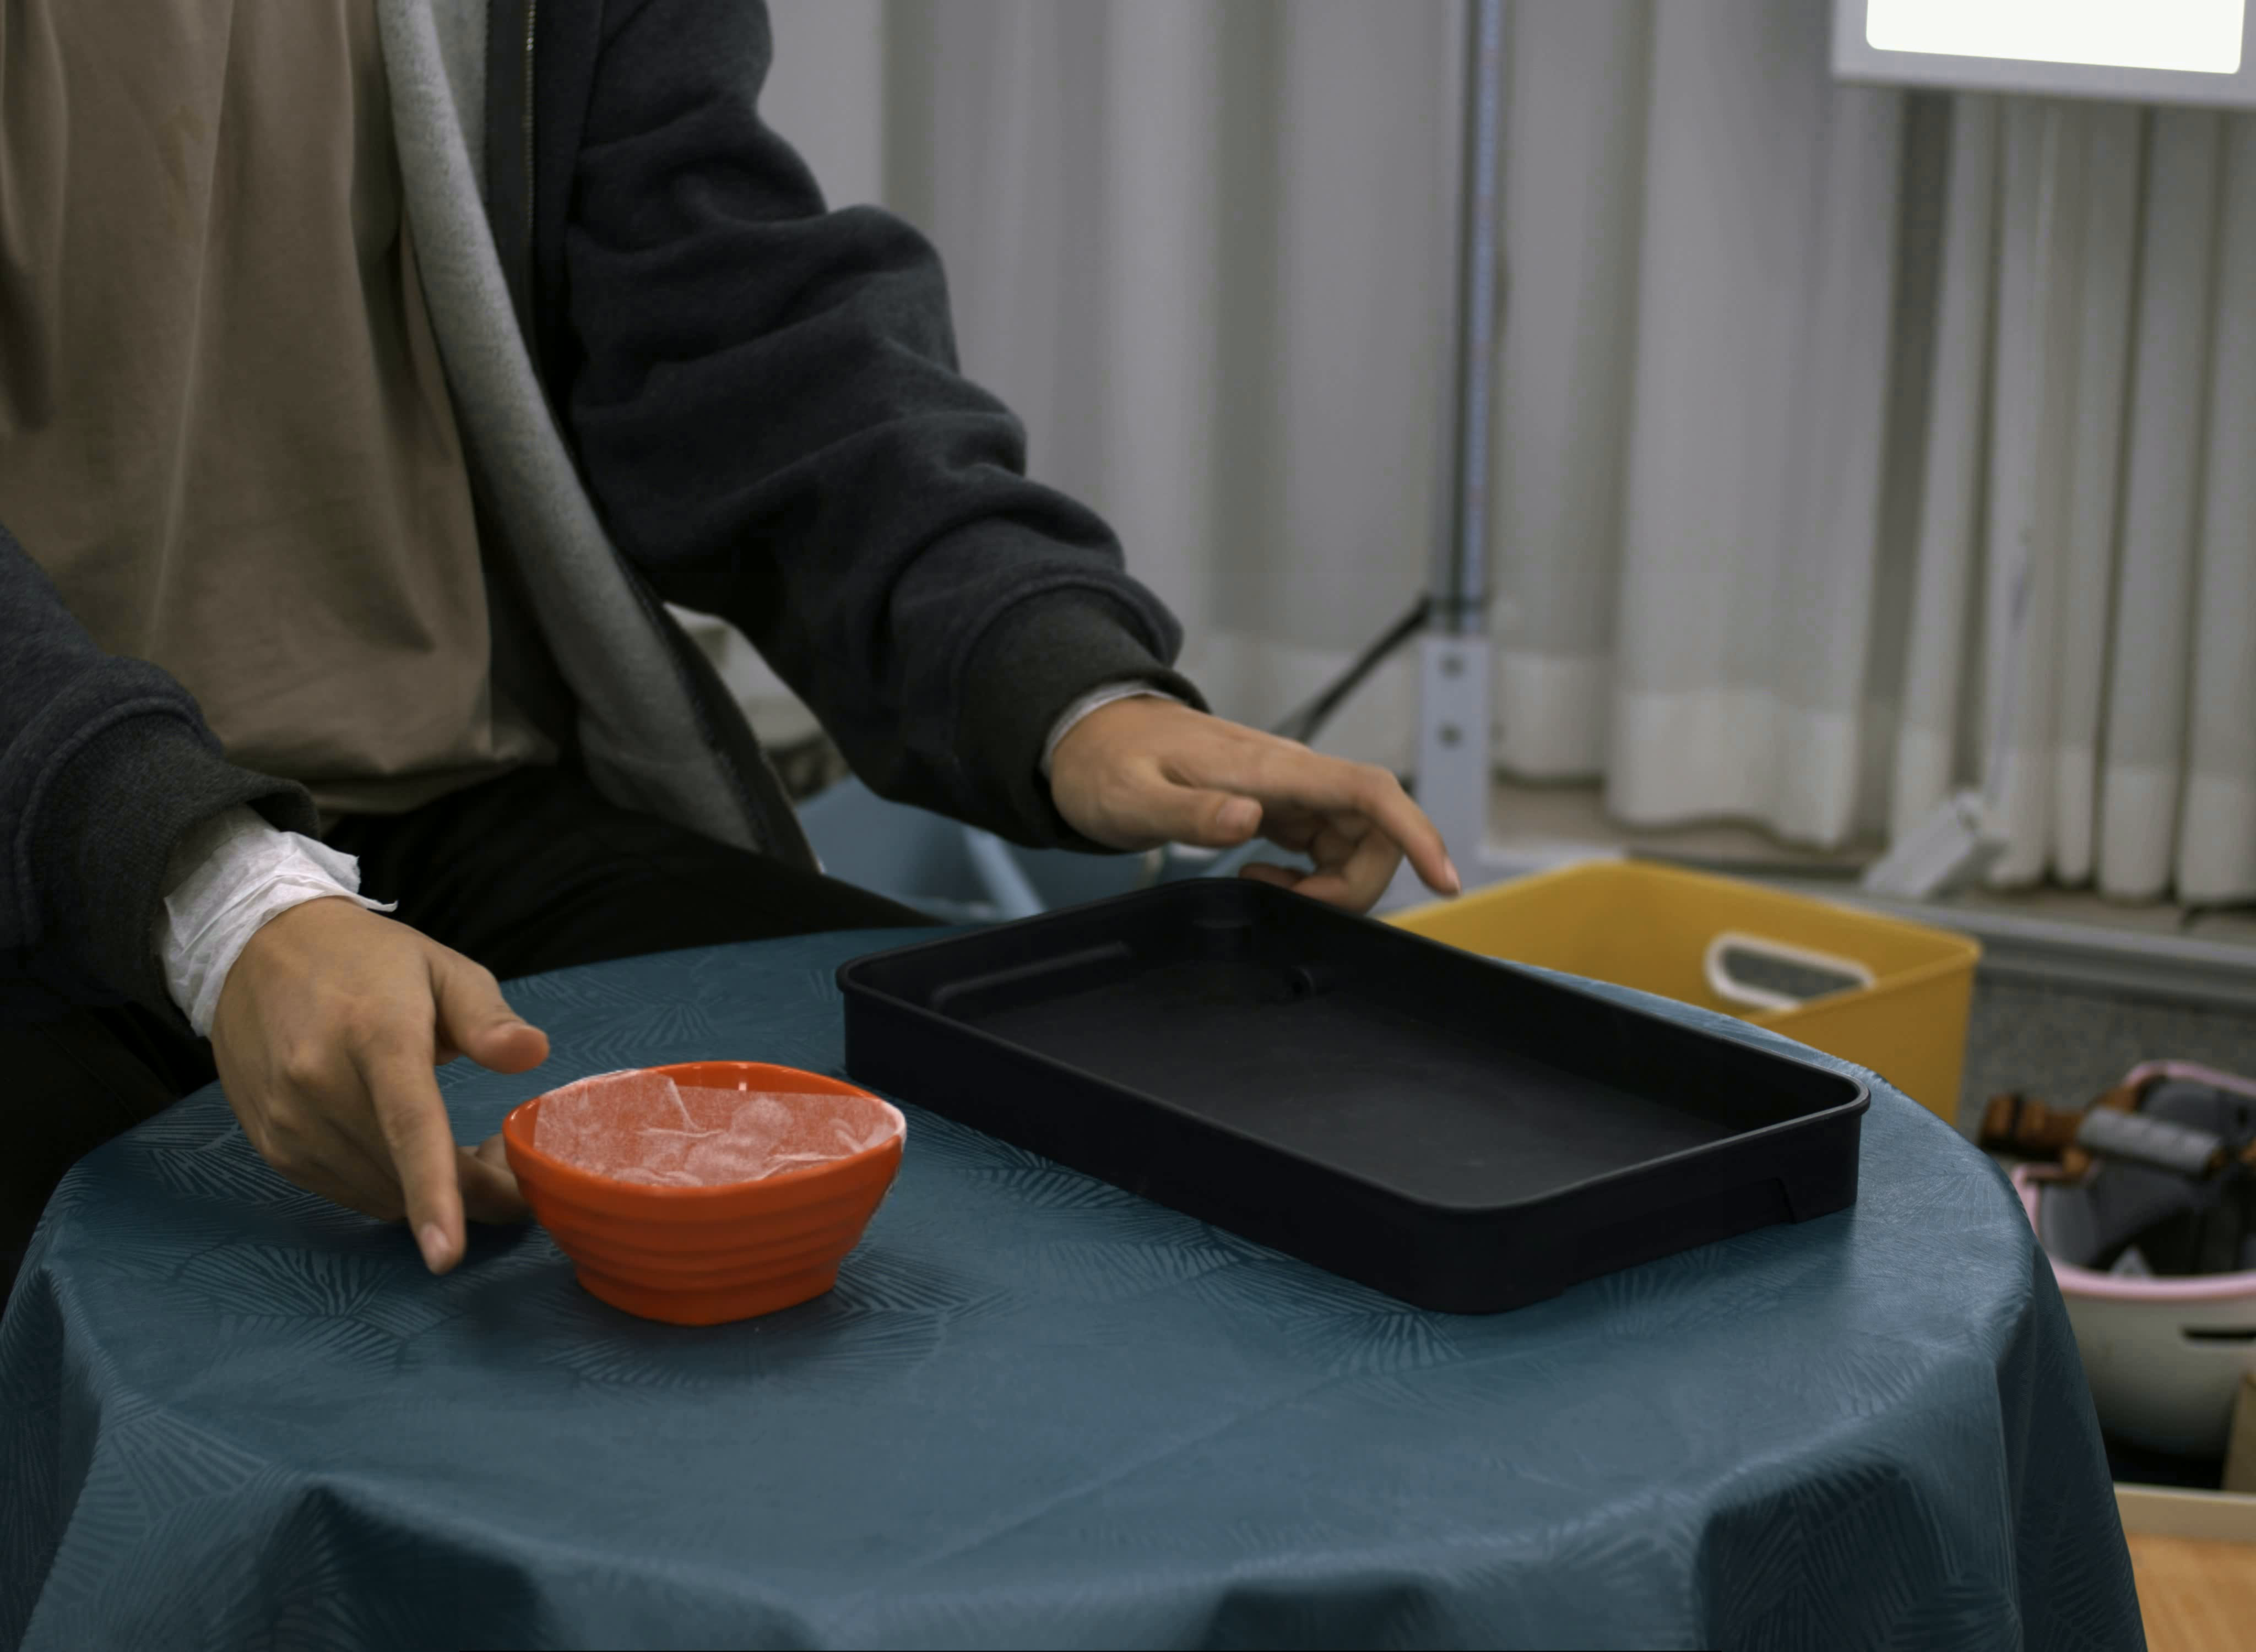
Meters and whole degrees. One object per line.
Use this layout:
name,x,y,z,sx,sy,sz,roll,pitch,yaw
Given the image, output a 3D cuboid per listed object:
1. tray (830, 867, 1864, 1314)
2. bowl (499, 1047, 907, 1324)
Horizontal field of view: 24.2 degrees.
tray,0.064,0.078,1.676,0.185,0.037,0.313,-12,21,-39
bowl,-0.124,0.107,1.534,0.118,0.052,0.118,1,18,0
